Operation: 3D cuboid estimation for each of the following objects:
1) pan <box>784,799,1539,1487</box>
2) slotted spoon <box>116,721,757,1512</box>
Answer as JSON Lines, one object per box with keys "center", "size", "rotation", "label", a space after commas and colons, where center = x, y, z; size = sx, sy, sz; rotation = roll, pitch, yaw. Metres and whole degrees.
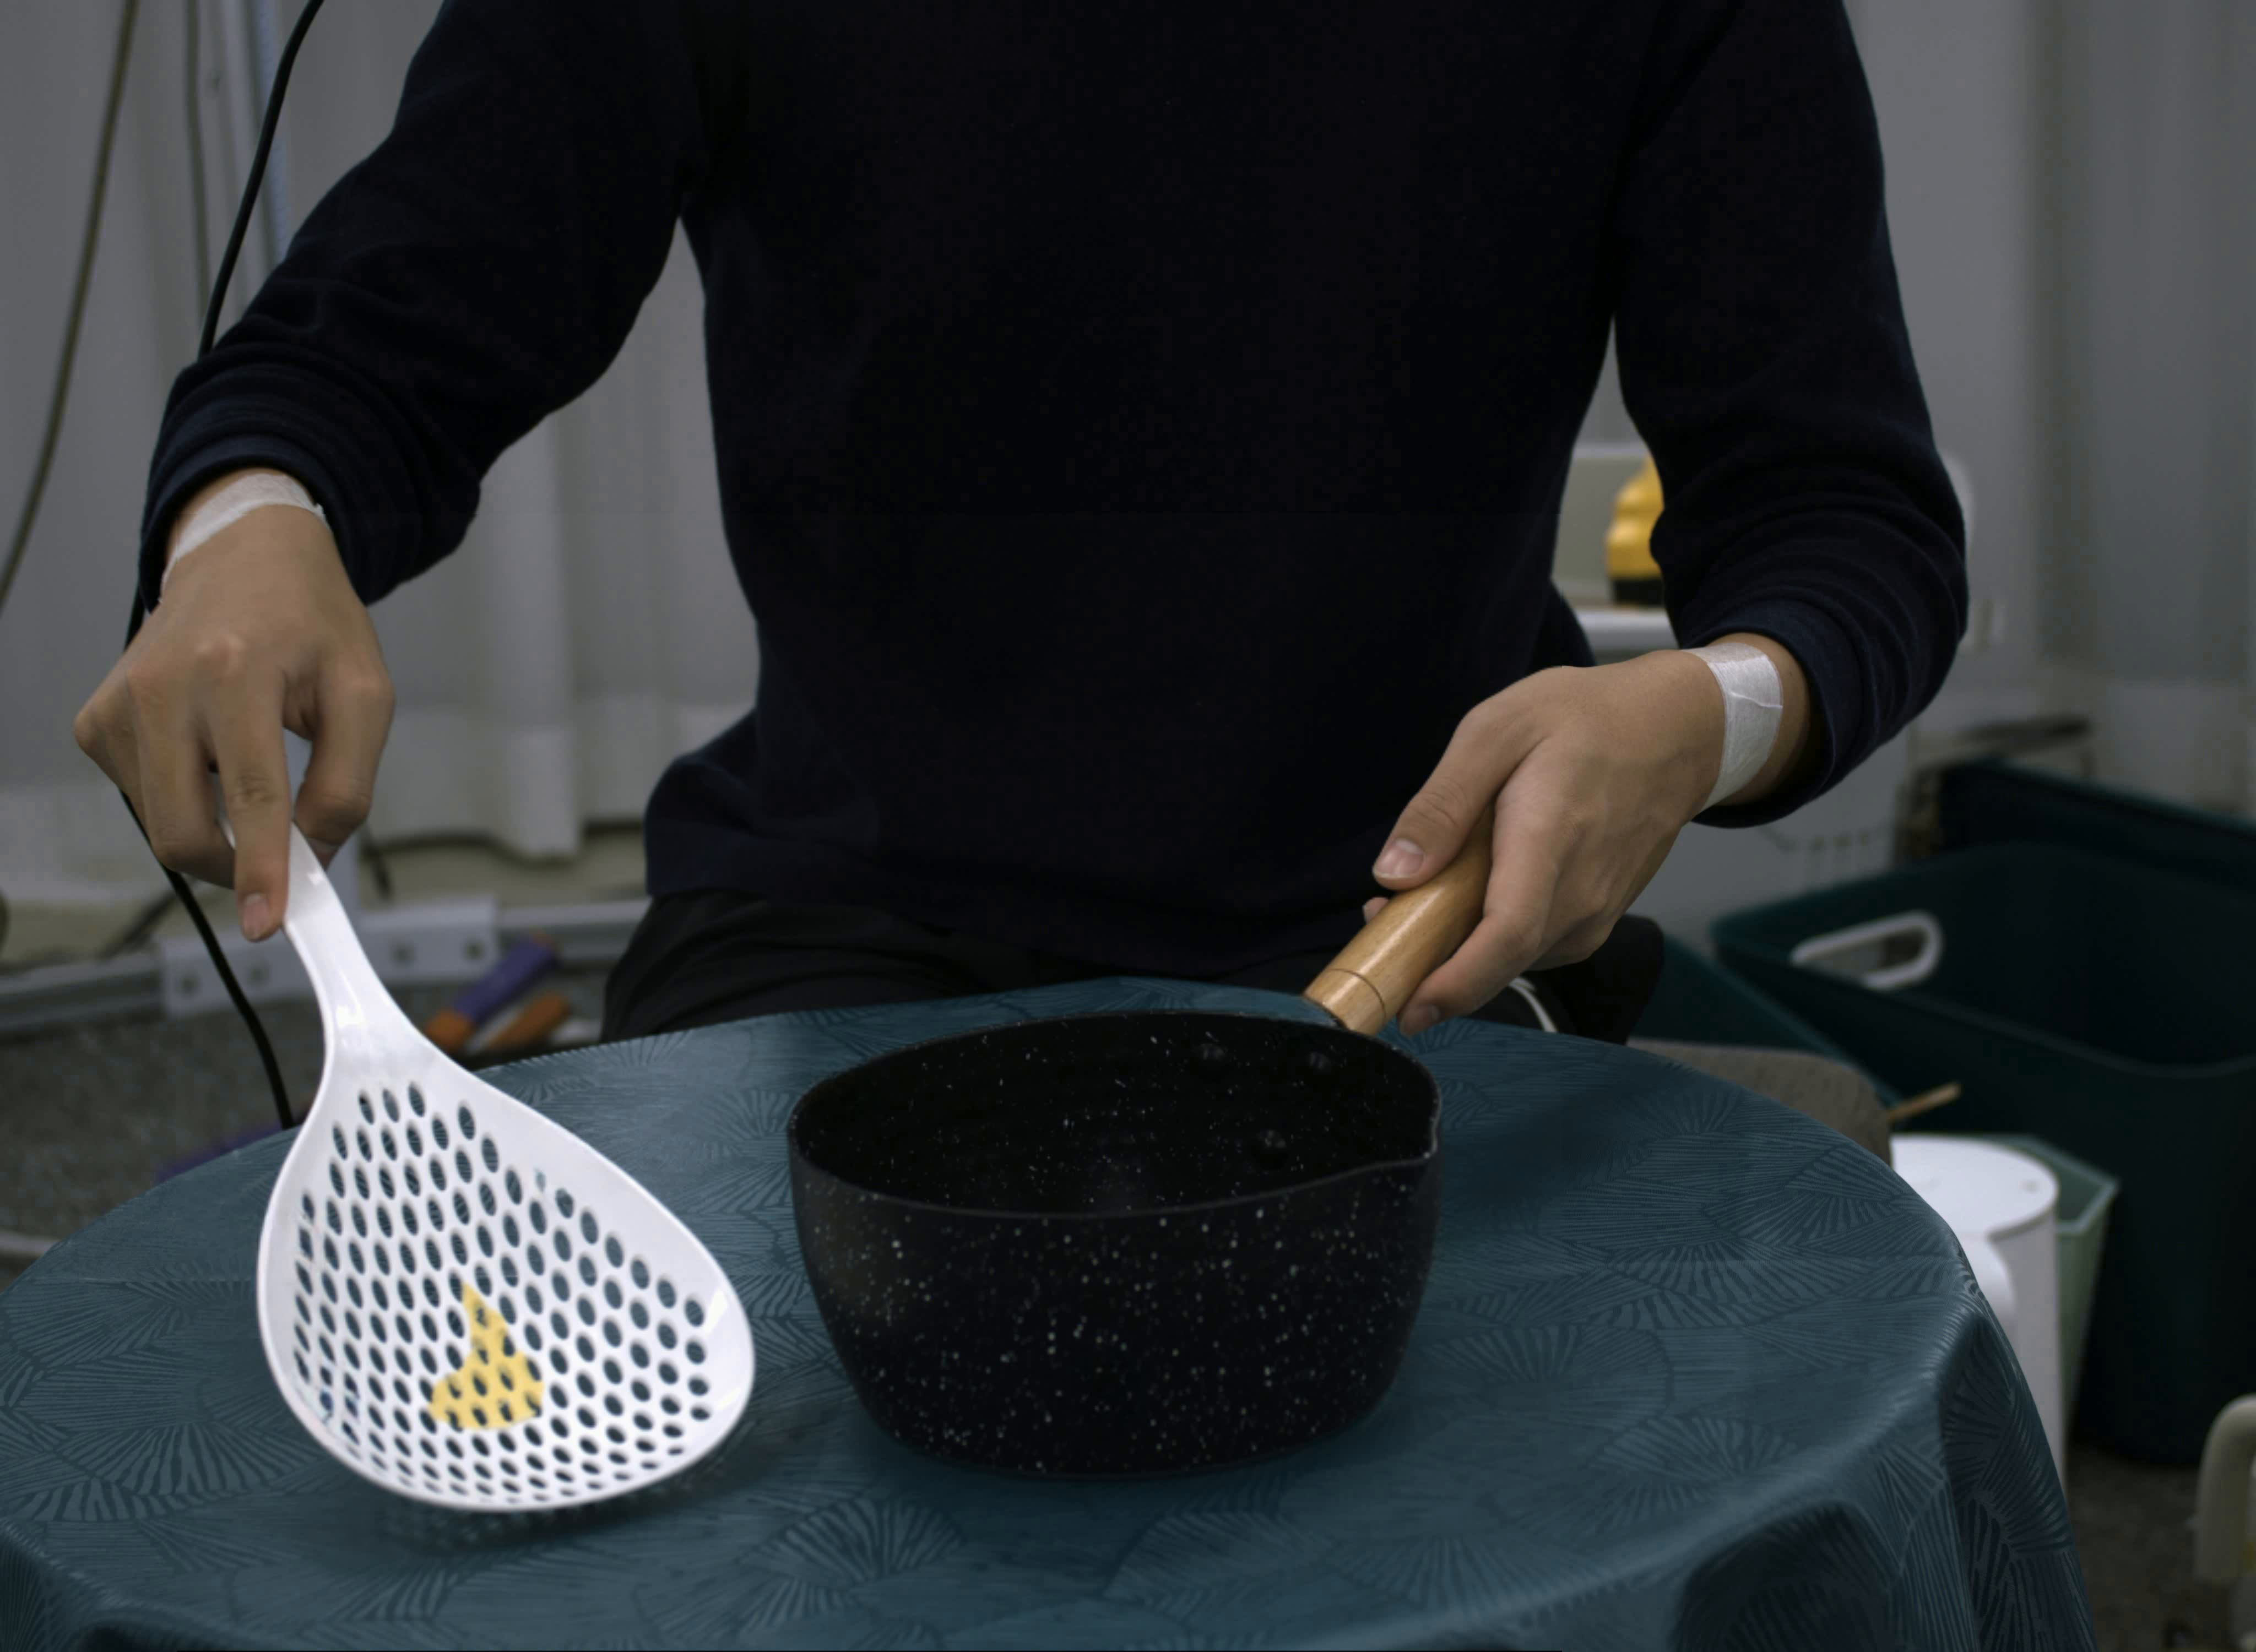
{"center": [0.036, 0.088, 1.603], "size": [0.208, 0.108, 0.343], "rotation": [4, 18, 29], "label": "pan"}
{"center": [-0.221, 0.073, 1.582], "size": [0.136, 0.050, 0.353], "rotation": [-10, 49, -26], "label": "slotted spoon"}
